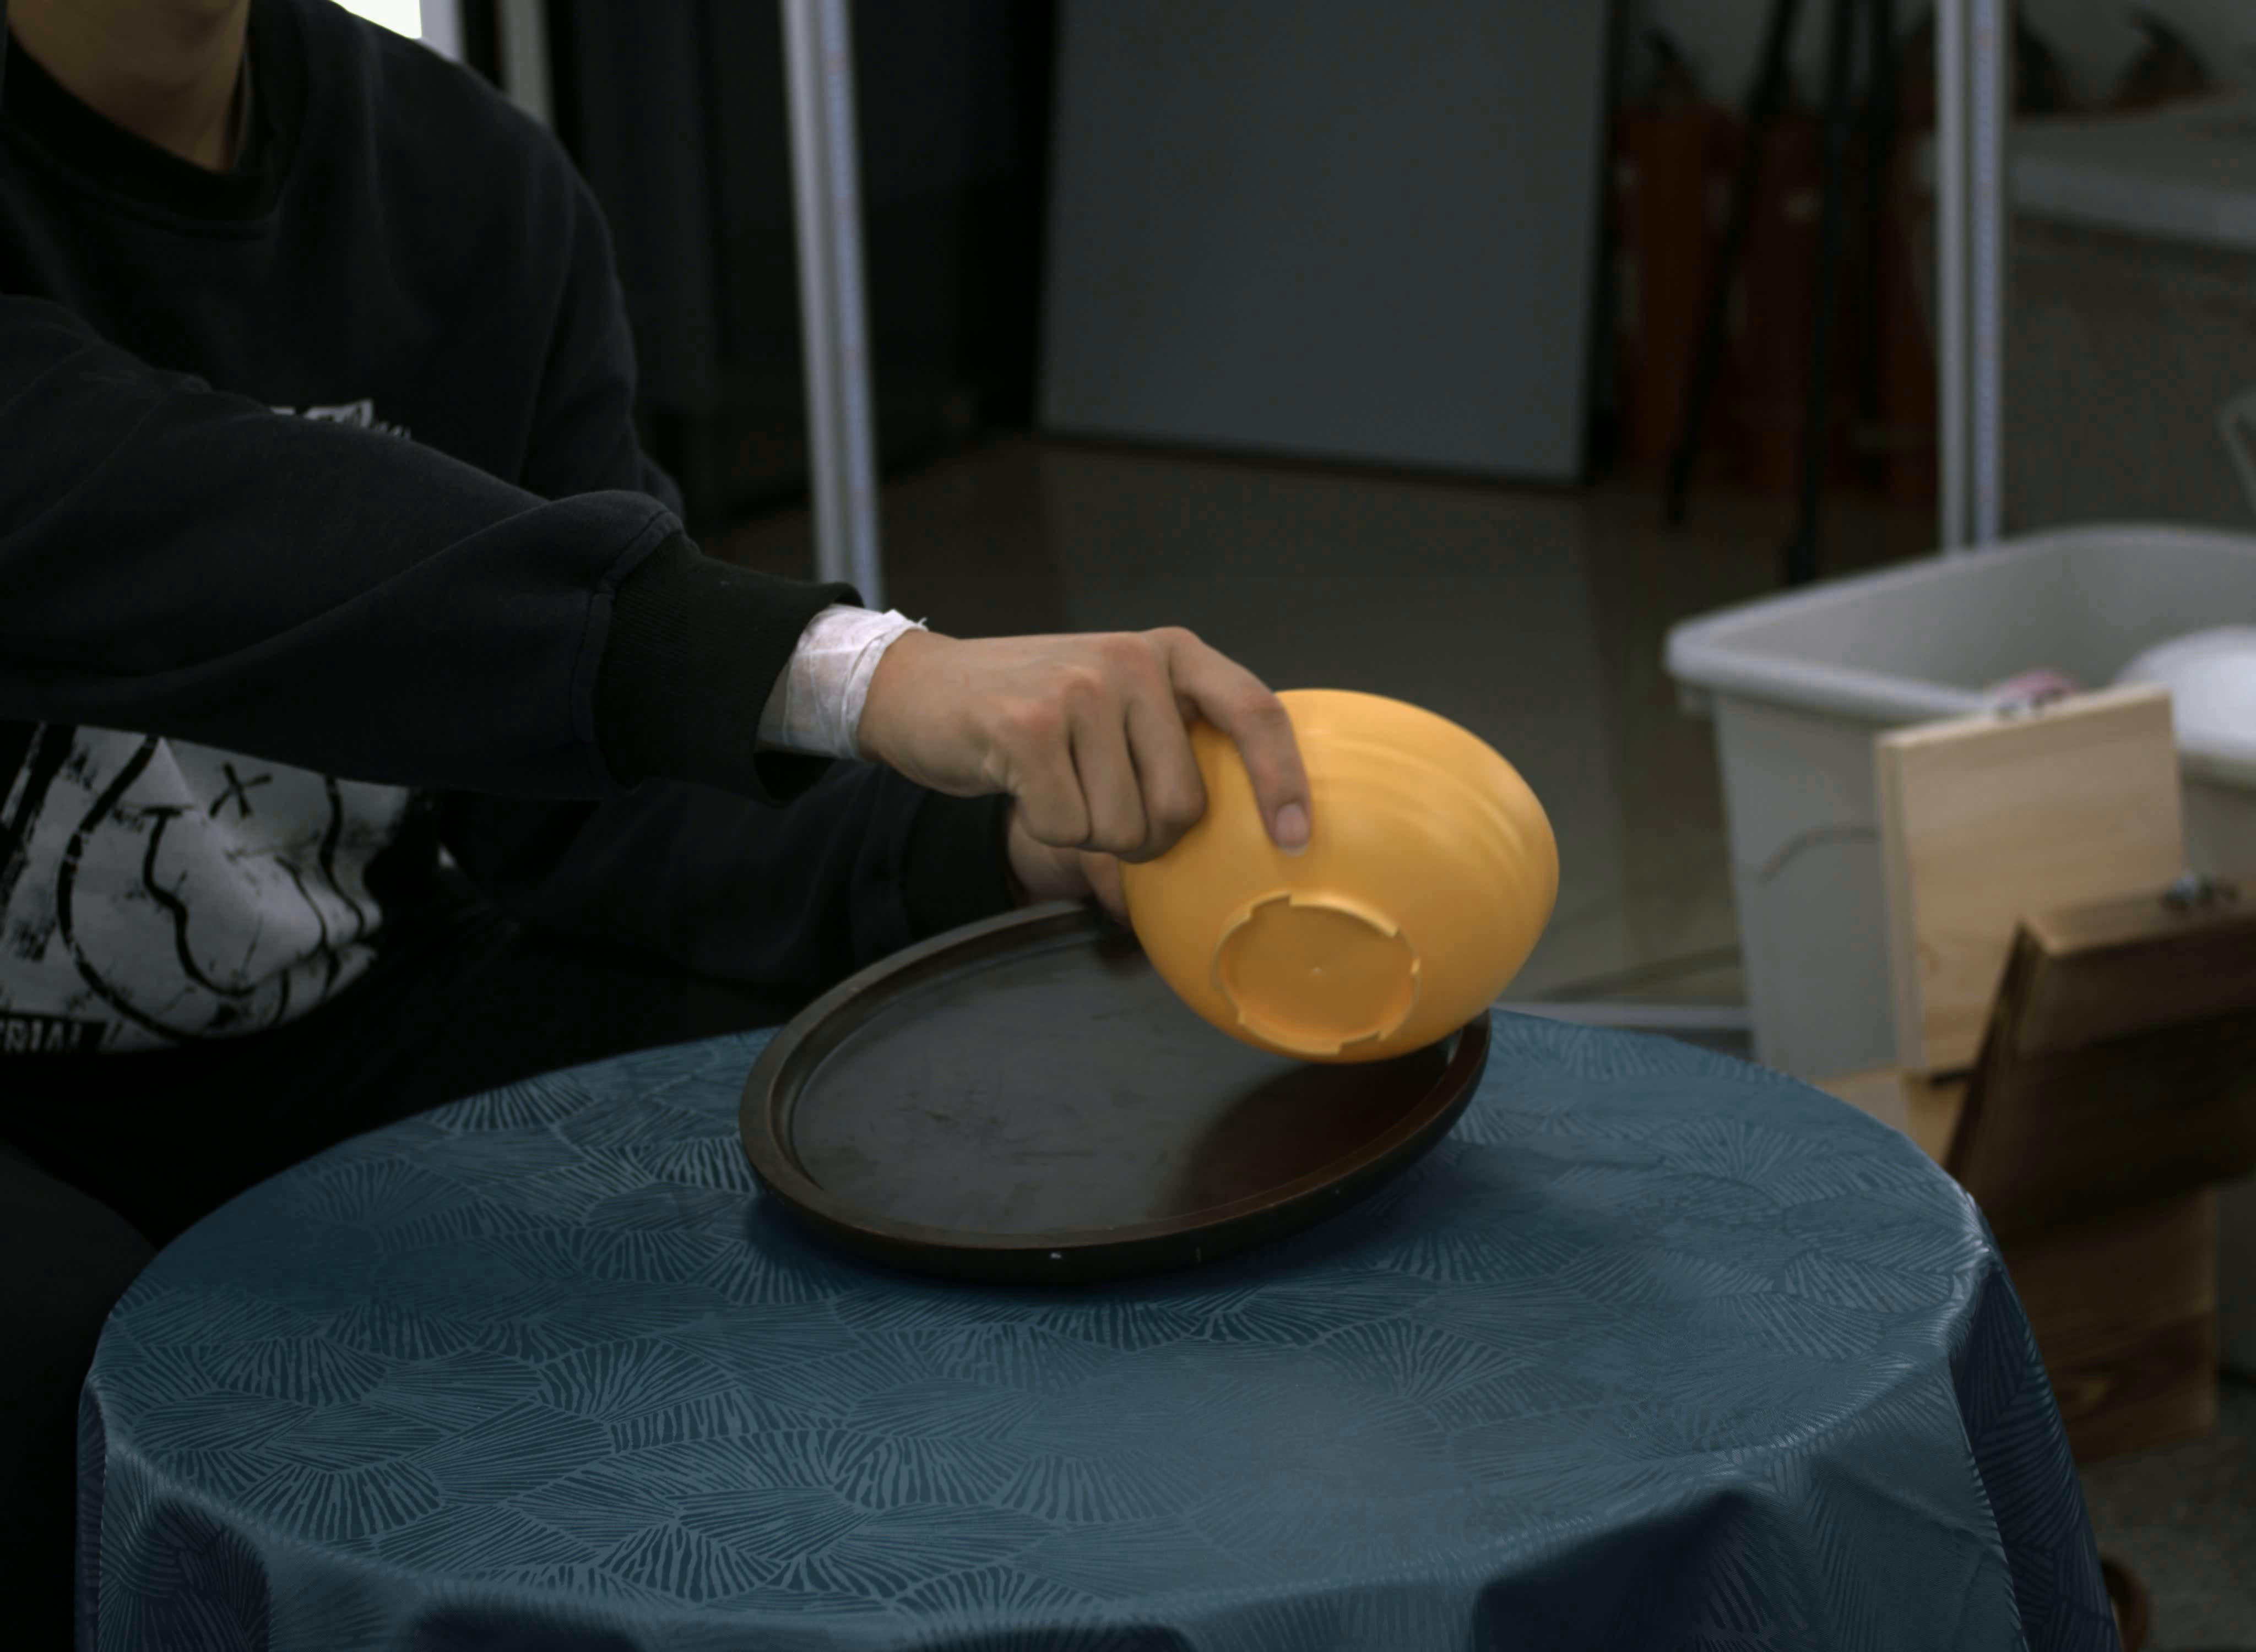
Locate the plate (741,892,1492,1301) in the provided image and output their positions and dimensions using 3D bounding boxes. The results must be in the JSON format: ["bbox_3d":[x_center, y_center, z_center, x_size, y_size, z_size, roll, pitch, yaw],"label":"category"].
[{"bbox_3d":[-0.003,0.085,1.777,0.252,0.029,0.256,-10,25,4],"label":"plate"}]

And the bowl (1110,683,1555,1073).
[{"bbox_3d":[0.062,0.030,1.701,0.144,0.146,0.060,-1,39,10],"label":"bowl"}]
